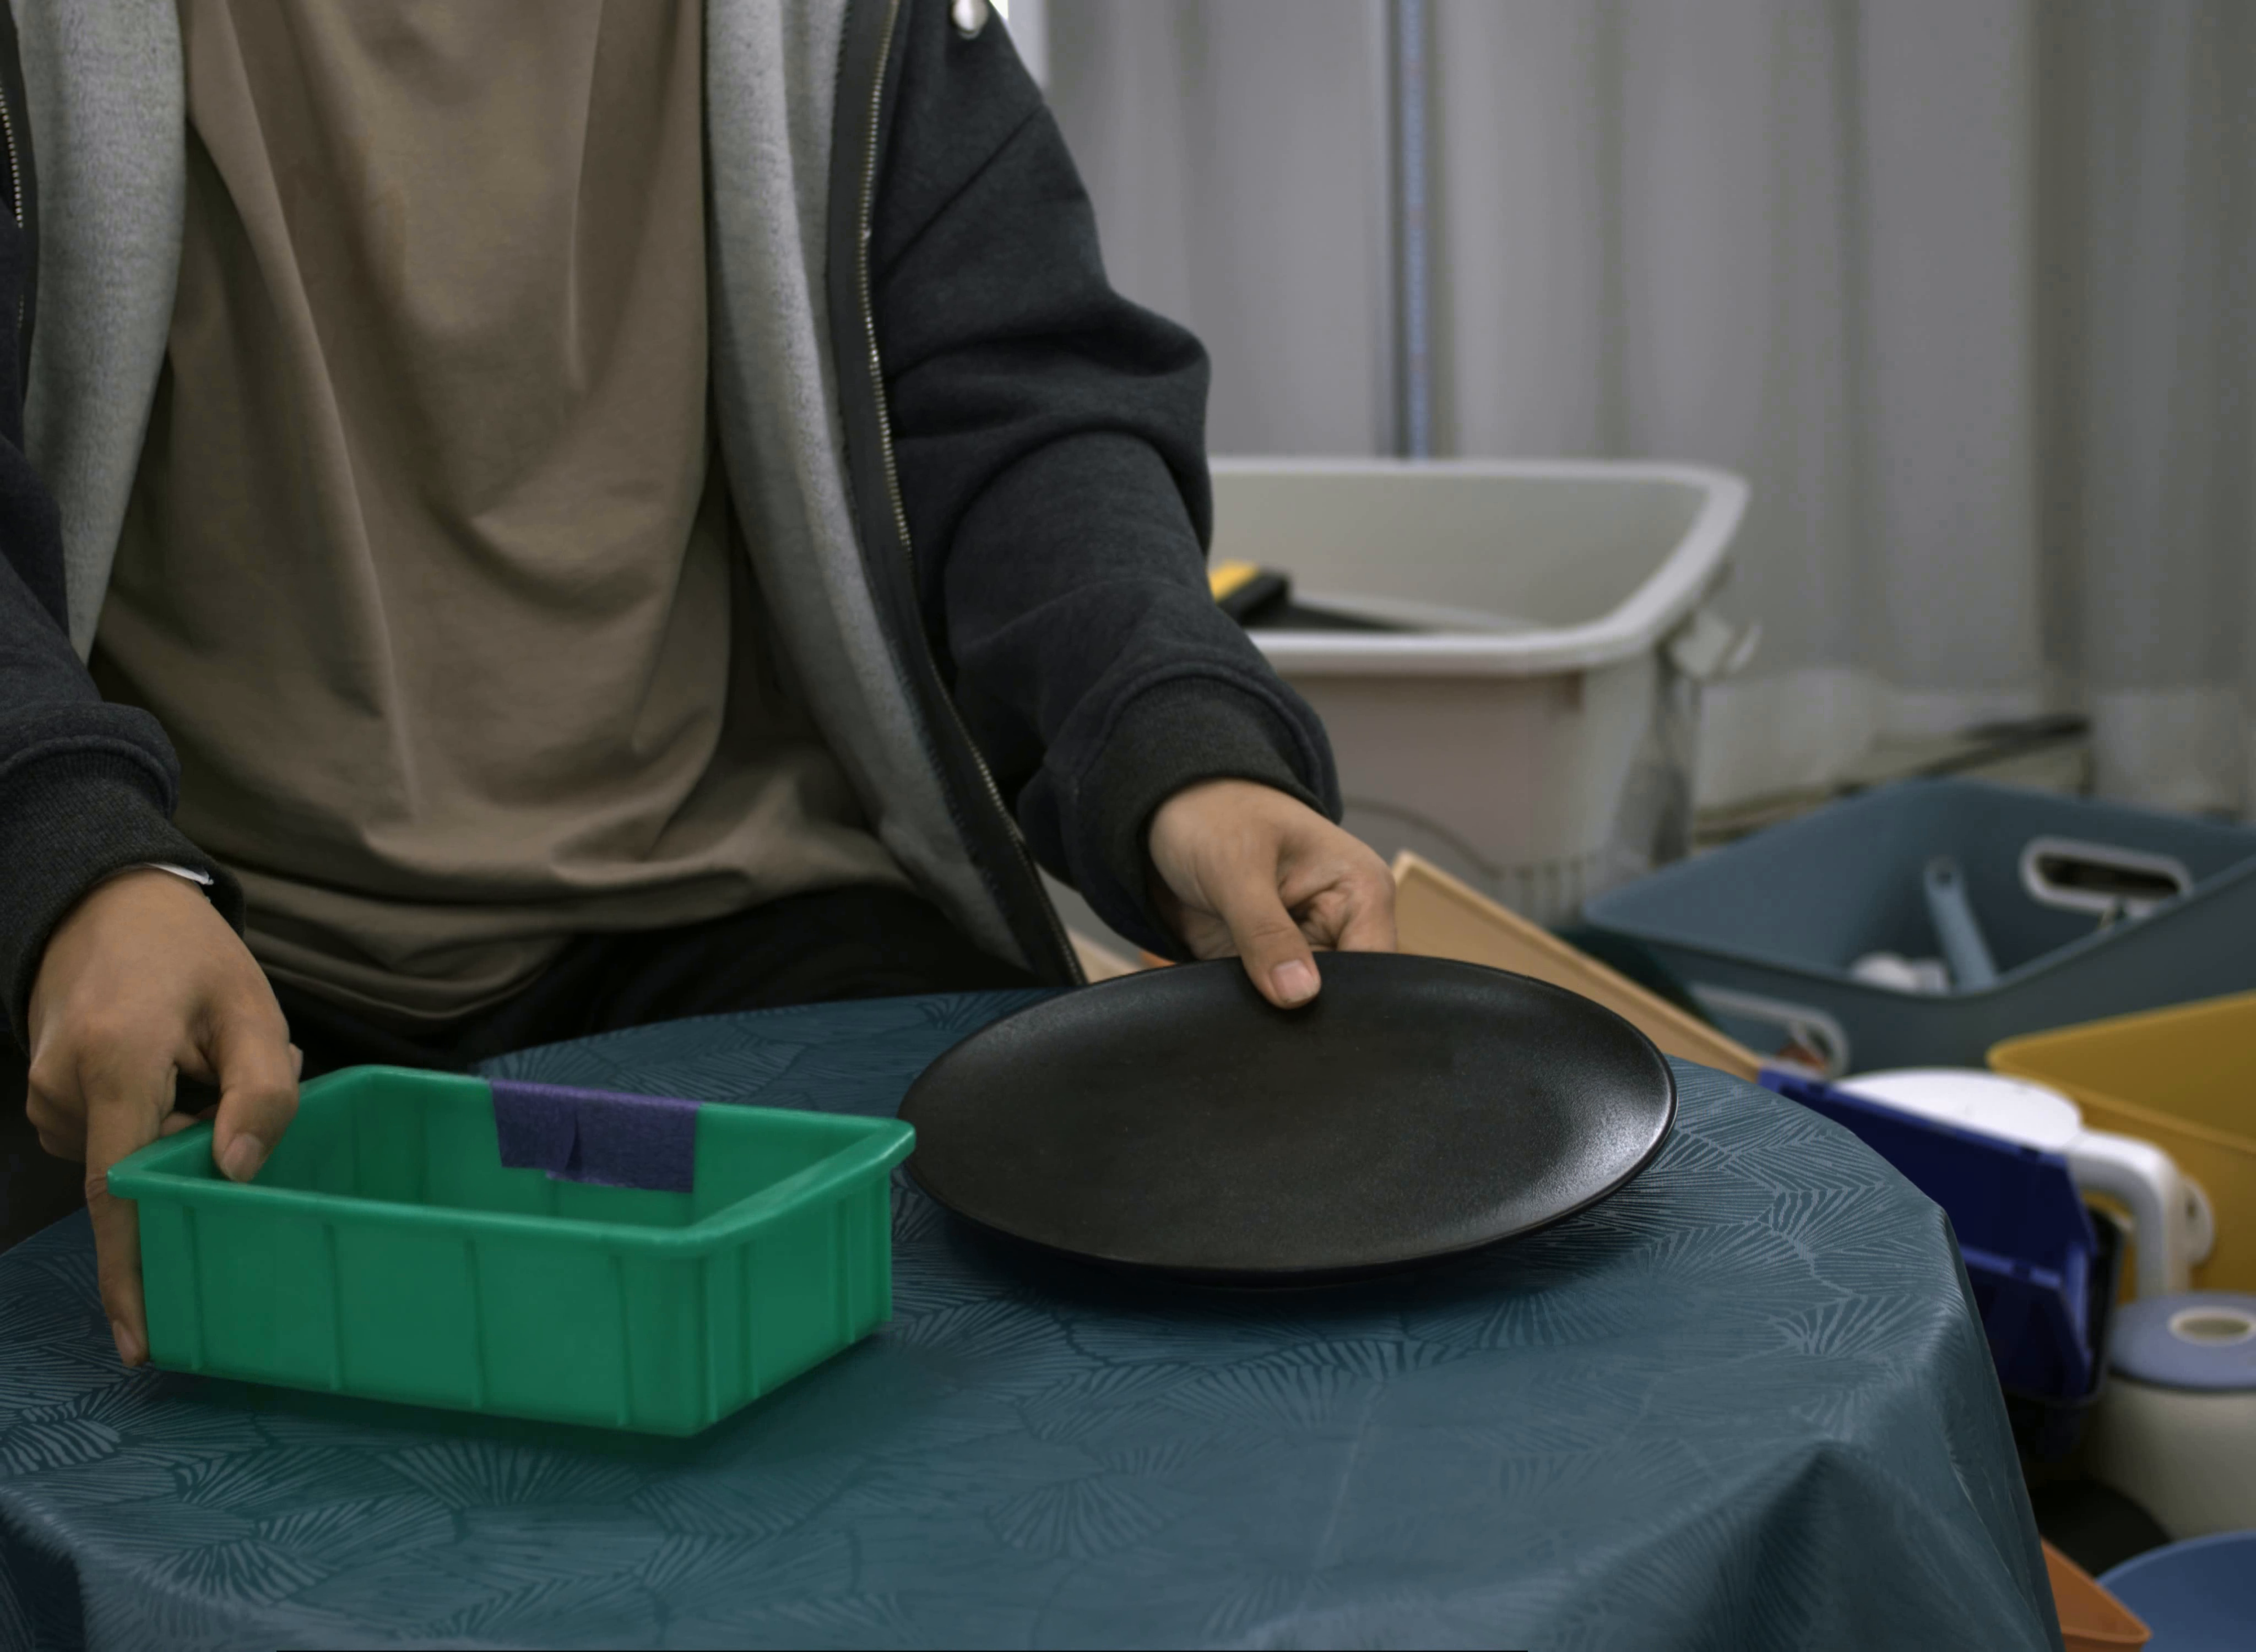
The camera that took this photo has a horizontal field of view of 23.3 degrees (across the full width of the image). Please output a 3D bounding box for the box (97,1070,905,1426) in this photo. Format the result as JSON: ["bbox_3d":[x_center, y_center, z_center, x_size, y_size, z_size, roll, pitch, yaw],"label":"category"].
[{"bbox_3d":[-0.179,0.121,1.582,0.211,0.065,0.138,2,10,25],"label":"box"}]

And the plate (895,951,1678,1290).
[{"bbox_3d":[0.049,0.095,1.701,0.243,0.023,0.246,-3,21,1],"label":"plate"}]
